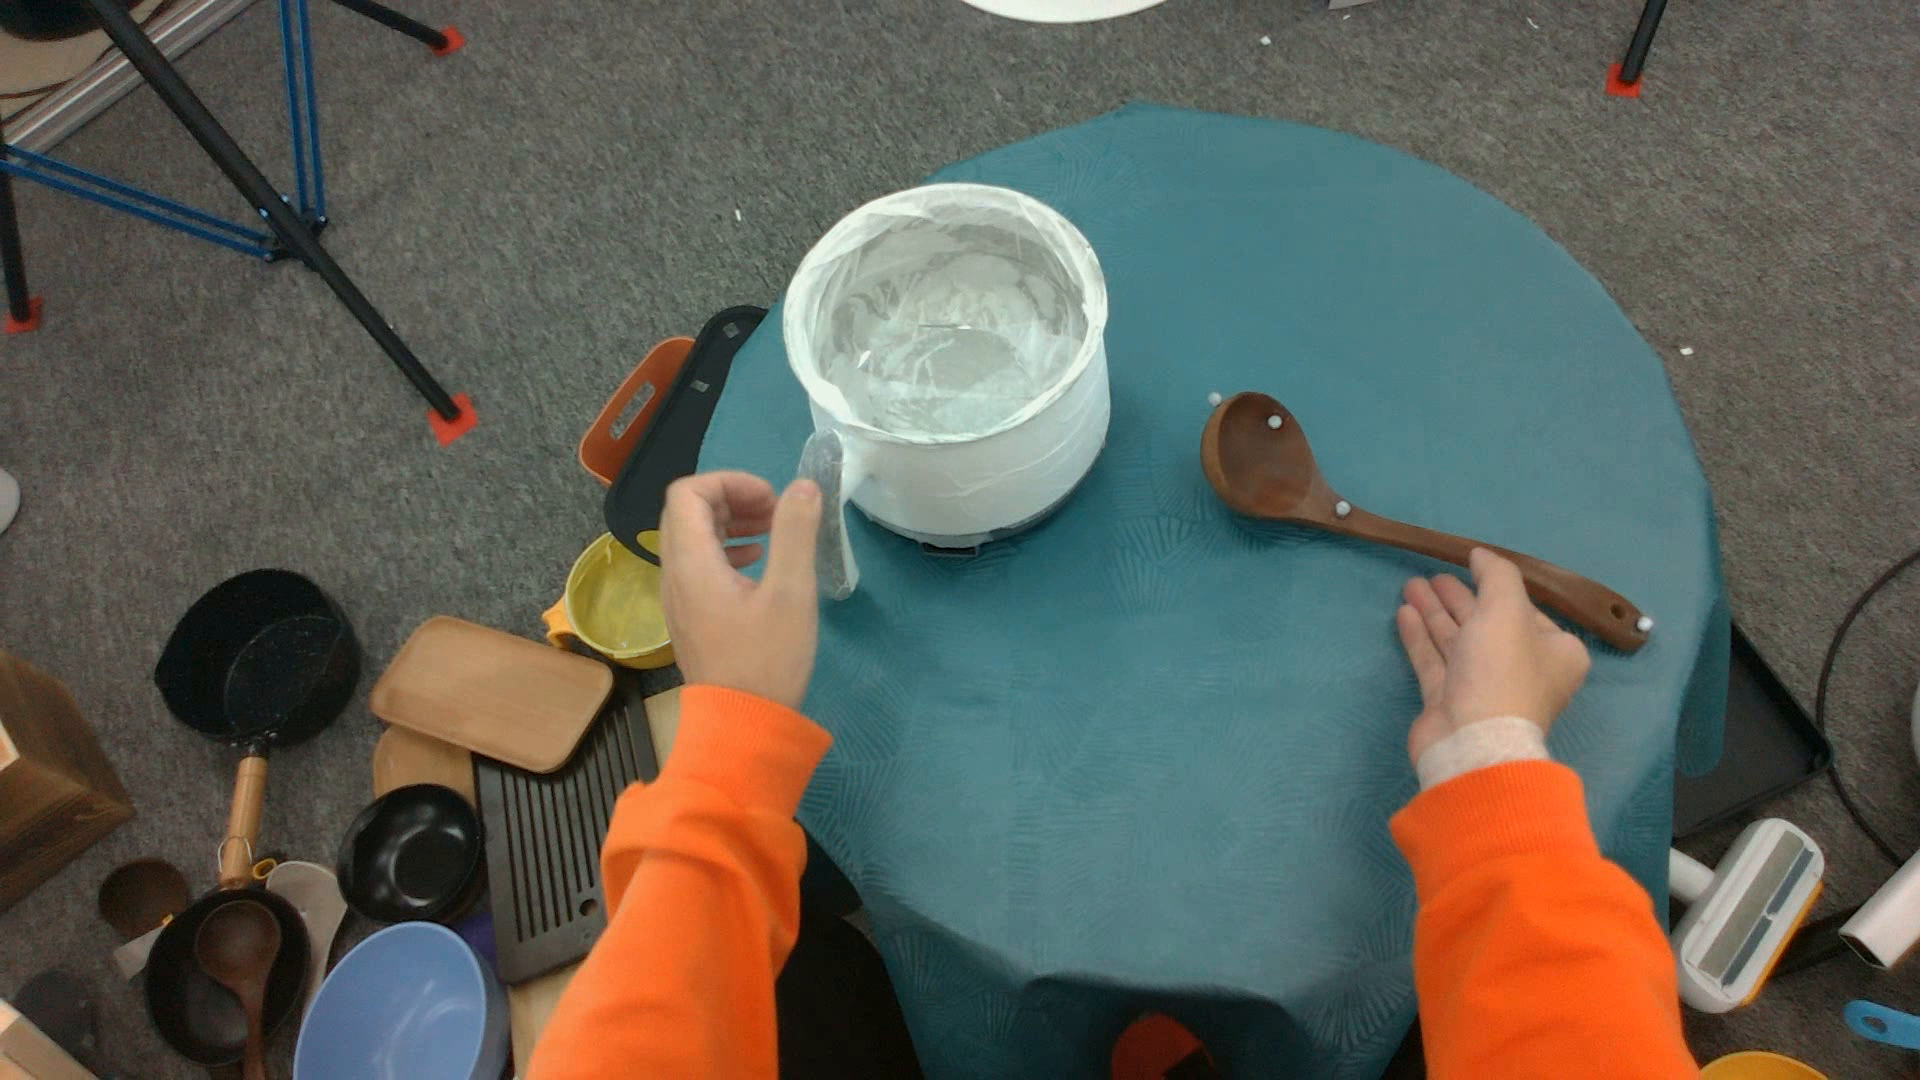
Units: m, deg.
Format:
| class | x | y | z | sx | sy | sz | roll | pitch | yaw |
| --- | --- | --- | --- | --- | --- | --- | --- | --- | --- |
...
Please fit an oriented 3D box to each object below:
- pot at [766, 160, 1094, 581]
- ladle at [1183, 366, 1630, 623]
| class | x | y | z | sx | sy | sz | roll | pitch | yaw |
| --- | --- | --- | --- | --- | --- | --- | --- | --- | --- |
| pot | -0.027 | -0.087 | 0.787 | 0.178 | 0.136 | 0.234 | 29 | 68 | 20 |
| ladle | 0.247 | -0.024 | 0.764 | 0.260 | 0.065 | 0.077 | 24 | 66 | 18 |
